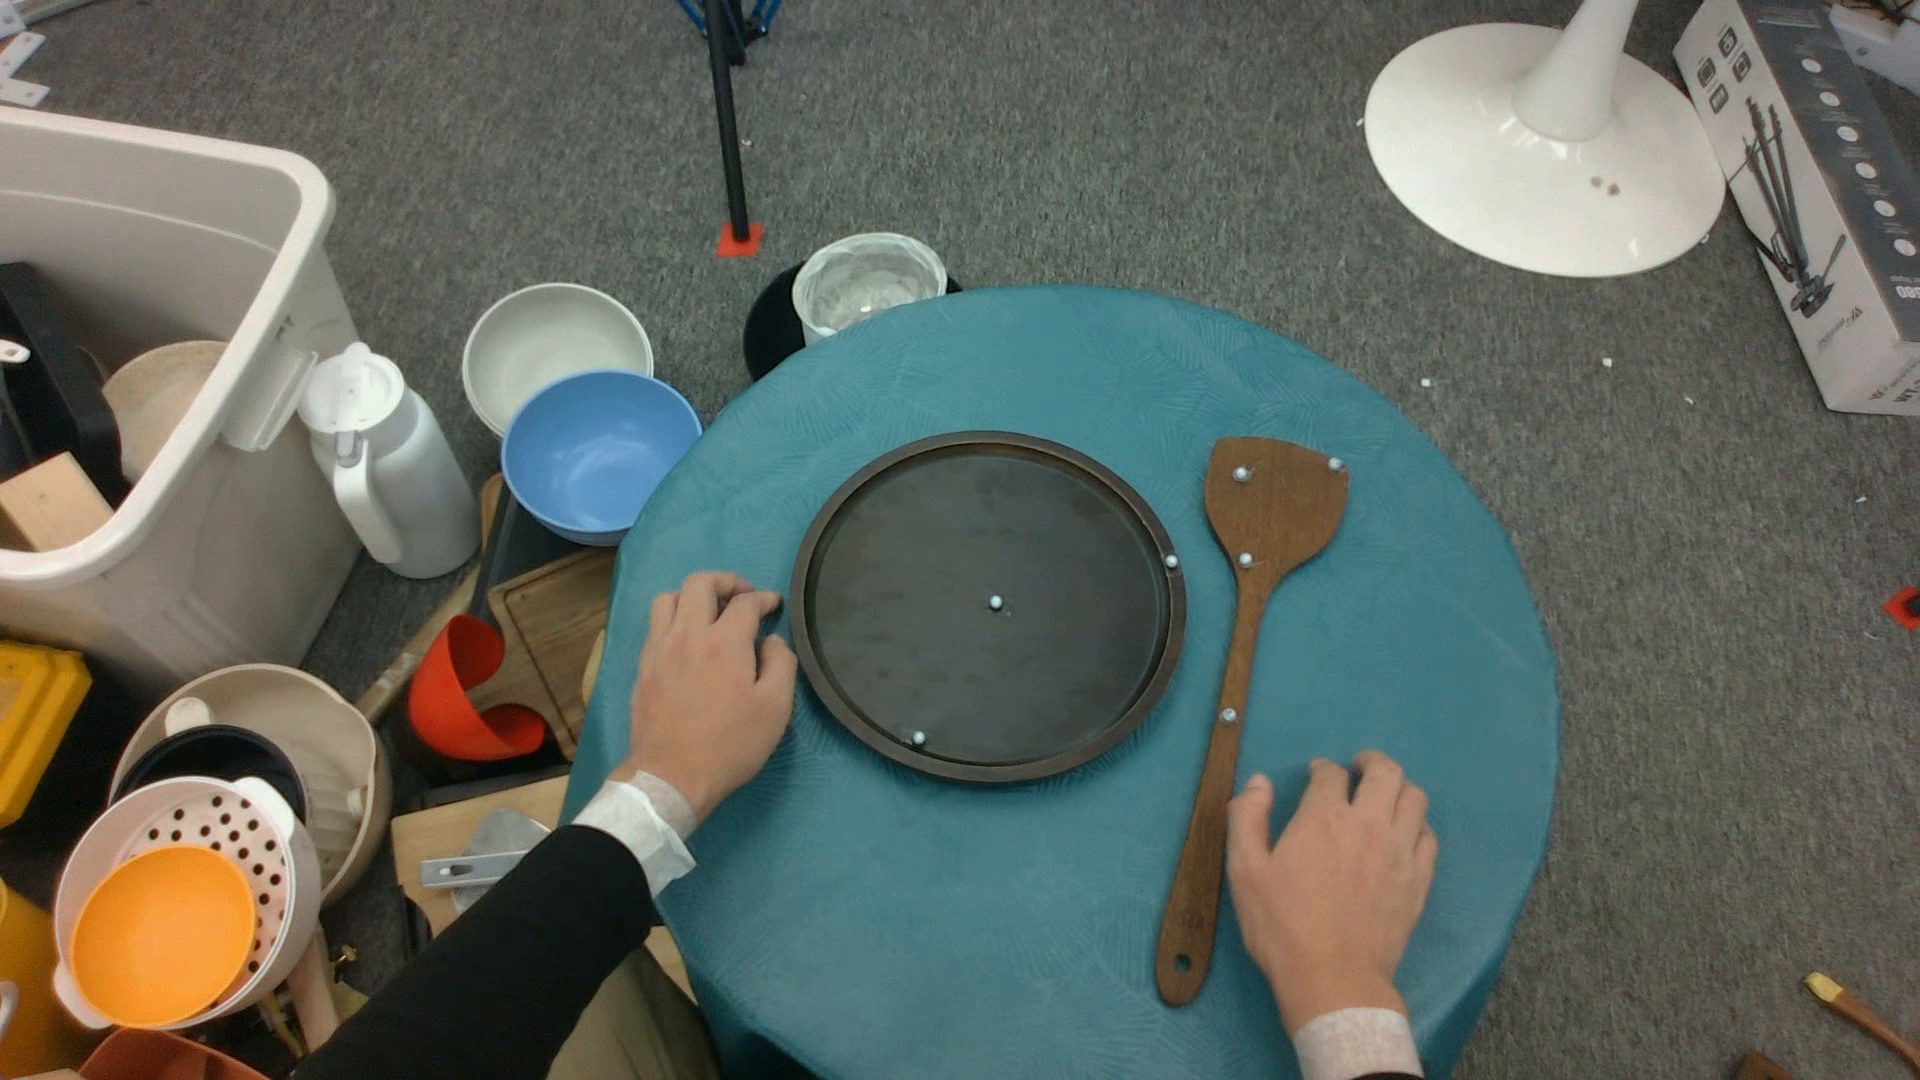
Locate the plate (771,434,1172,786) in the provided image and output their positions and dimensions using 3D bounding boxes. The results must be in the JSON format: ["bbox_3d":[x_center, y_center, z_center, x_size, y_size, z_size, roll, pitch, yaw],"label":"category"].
[{"bbox_3d":[0.007,0.039,0.874,0.255,0.029,0.256,2,57,-2],"label":"plate"}]

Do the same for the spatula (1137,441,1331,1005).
[{"bbox_3d":[0.159,0.094,0.851,0.096,0.016,0.388,14,59,7],"label":"spatula"}]
